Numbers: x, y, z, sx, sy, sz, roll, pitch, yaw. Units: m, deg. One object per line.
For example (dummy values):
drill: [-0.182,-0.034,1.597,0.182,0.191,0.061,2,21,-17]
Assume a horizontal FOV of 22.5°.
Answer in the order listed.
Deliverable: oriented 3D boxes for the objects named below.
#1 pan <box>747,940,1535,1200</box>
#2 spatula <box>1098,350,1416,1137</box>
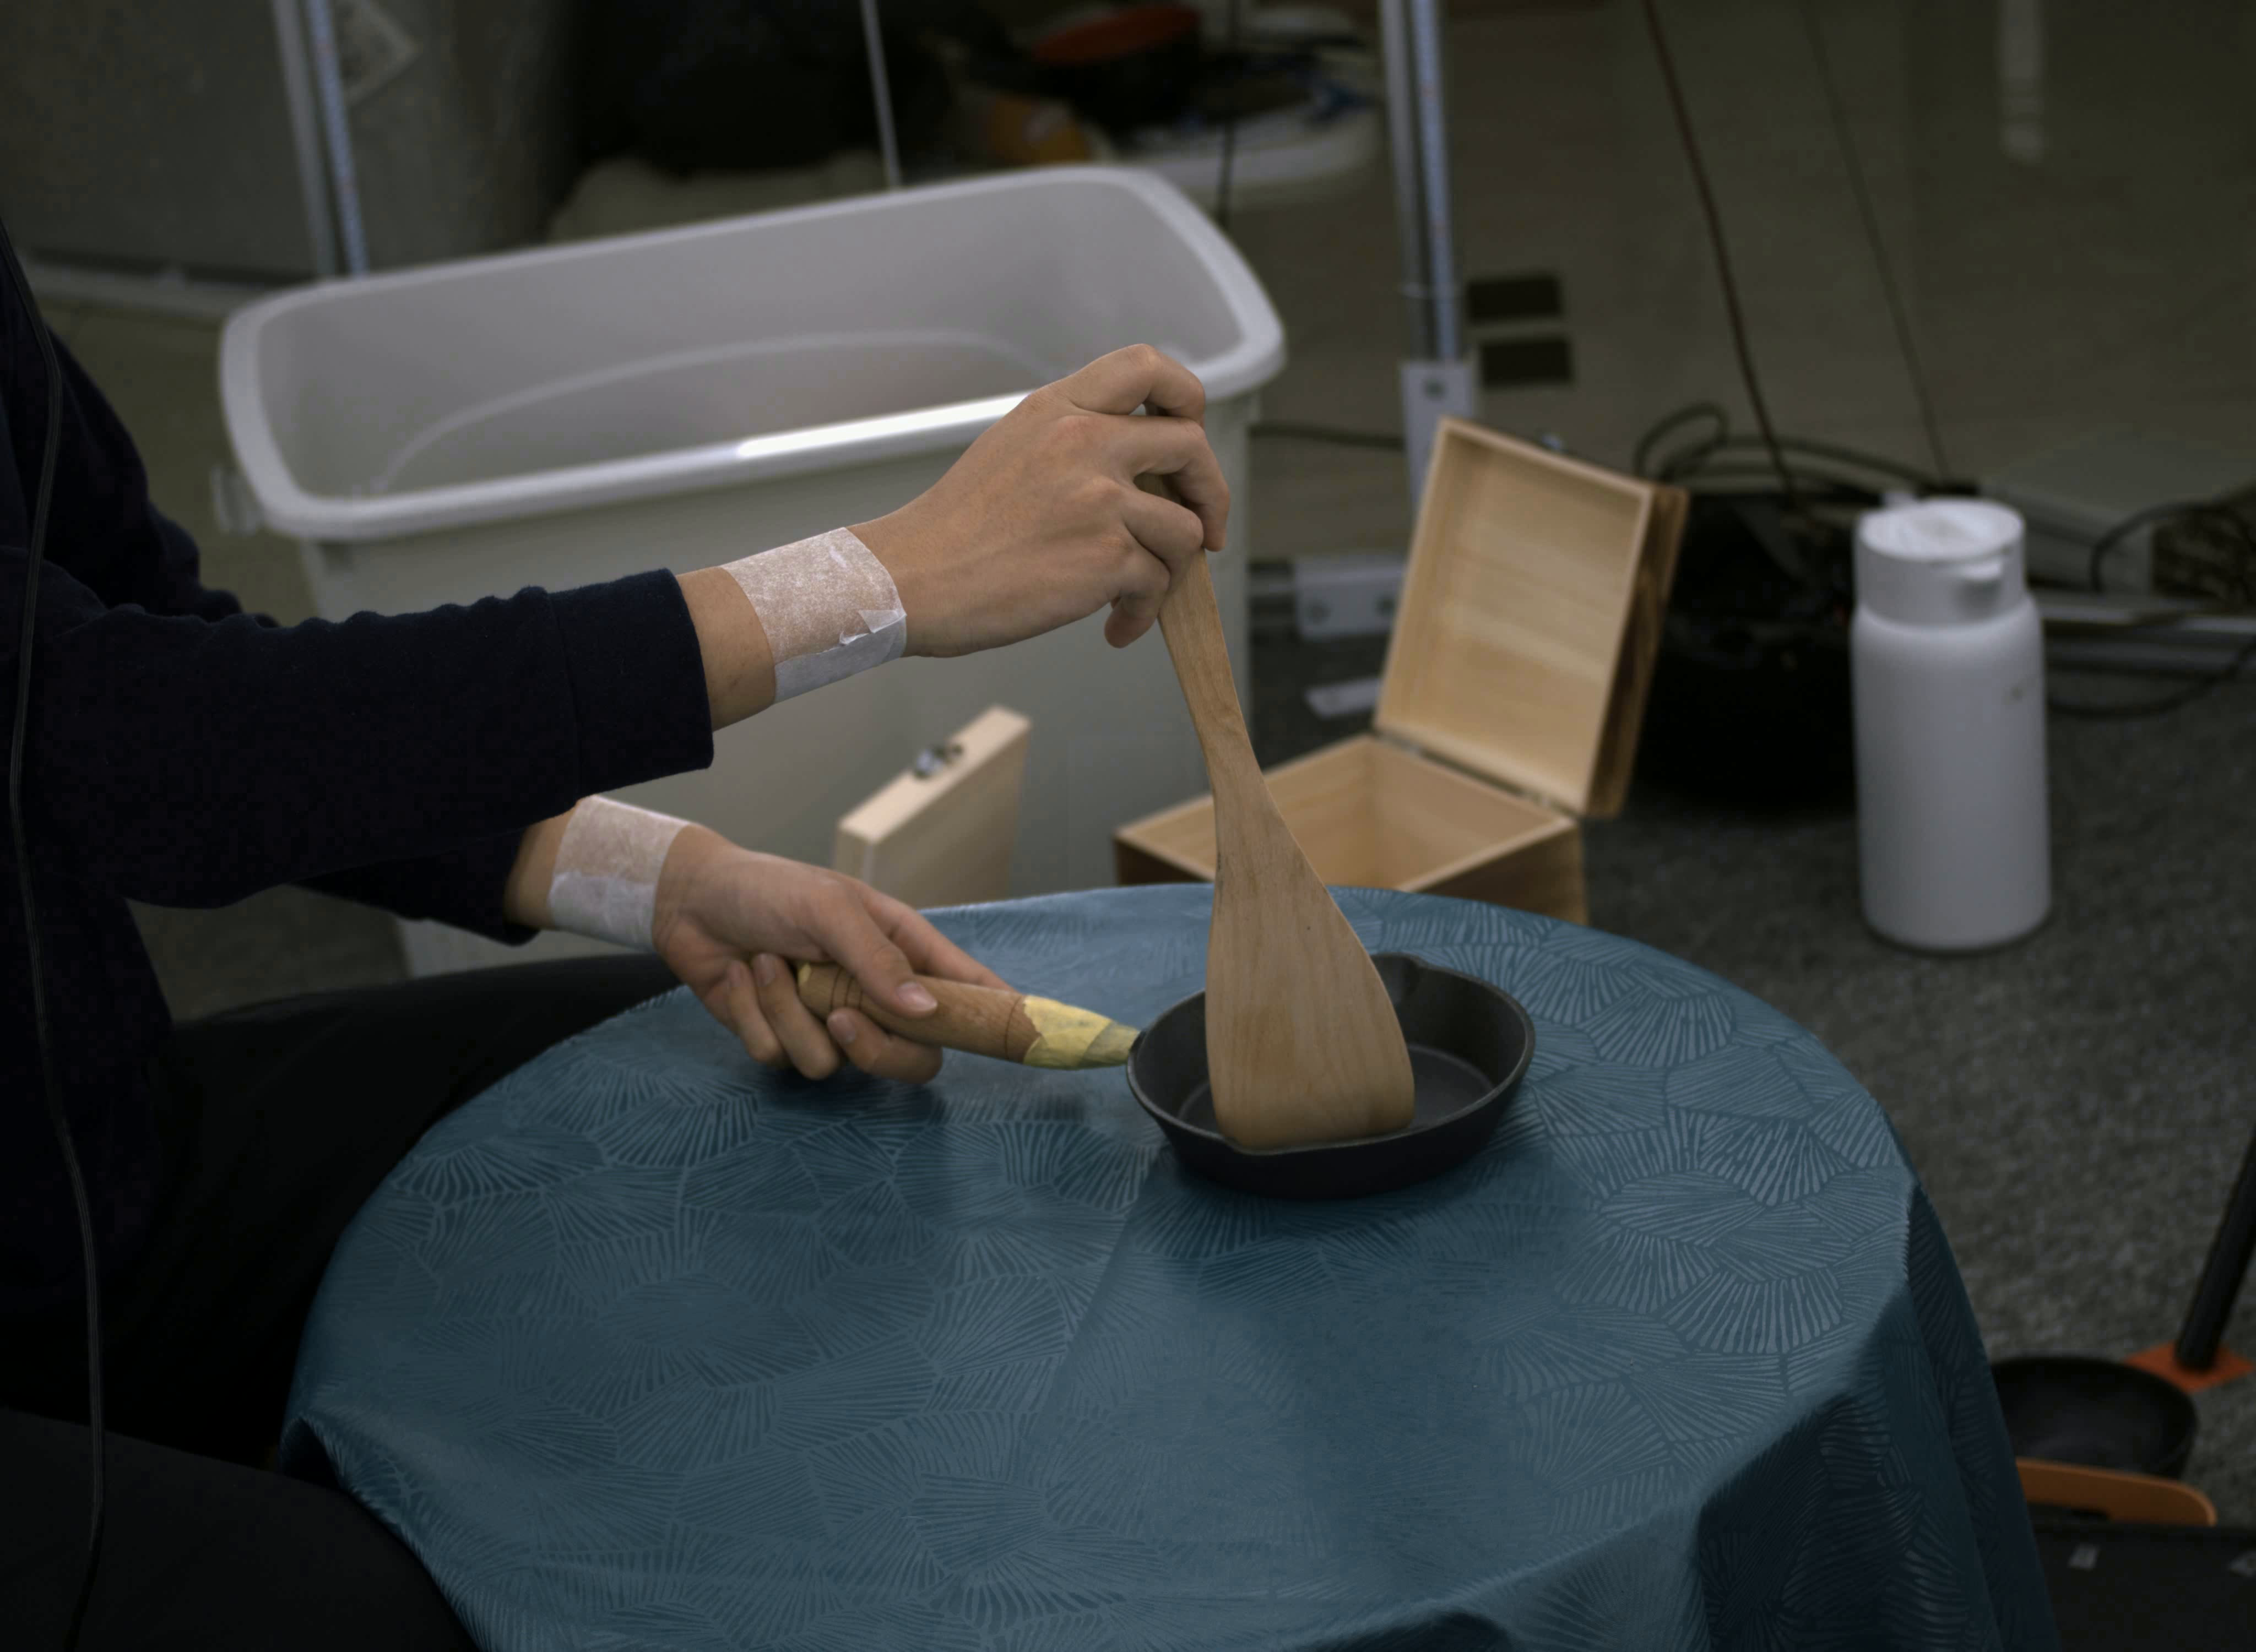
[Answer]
pan: [0.001,0.085,2.202,0.323,0.050,0.167,6,28,23]
spatula: [0.037,-0.021,2.096,0.080,0.332,0.016,-18,21,-7]
